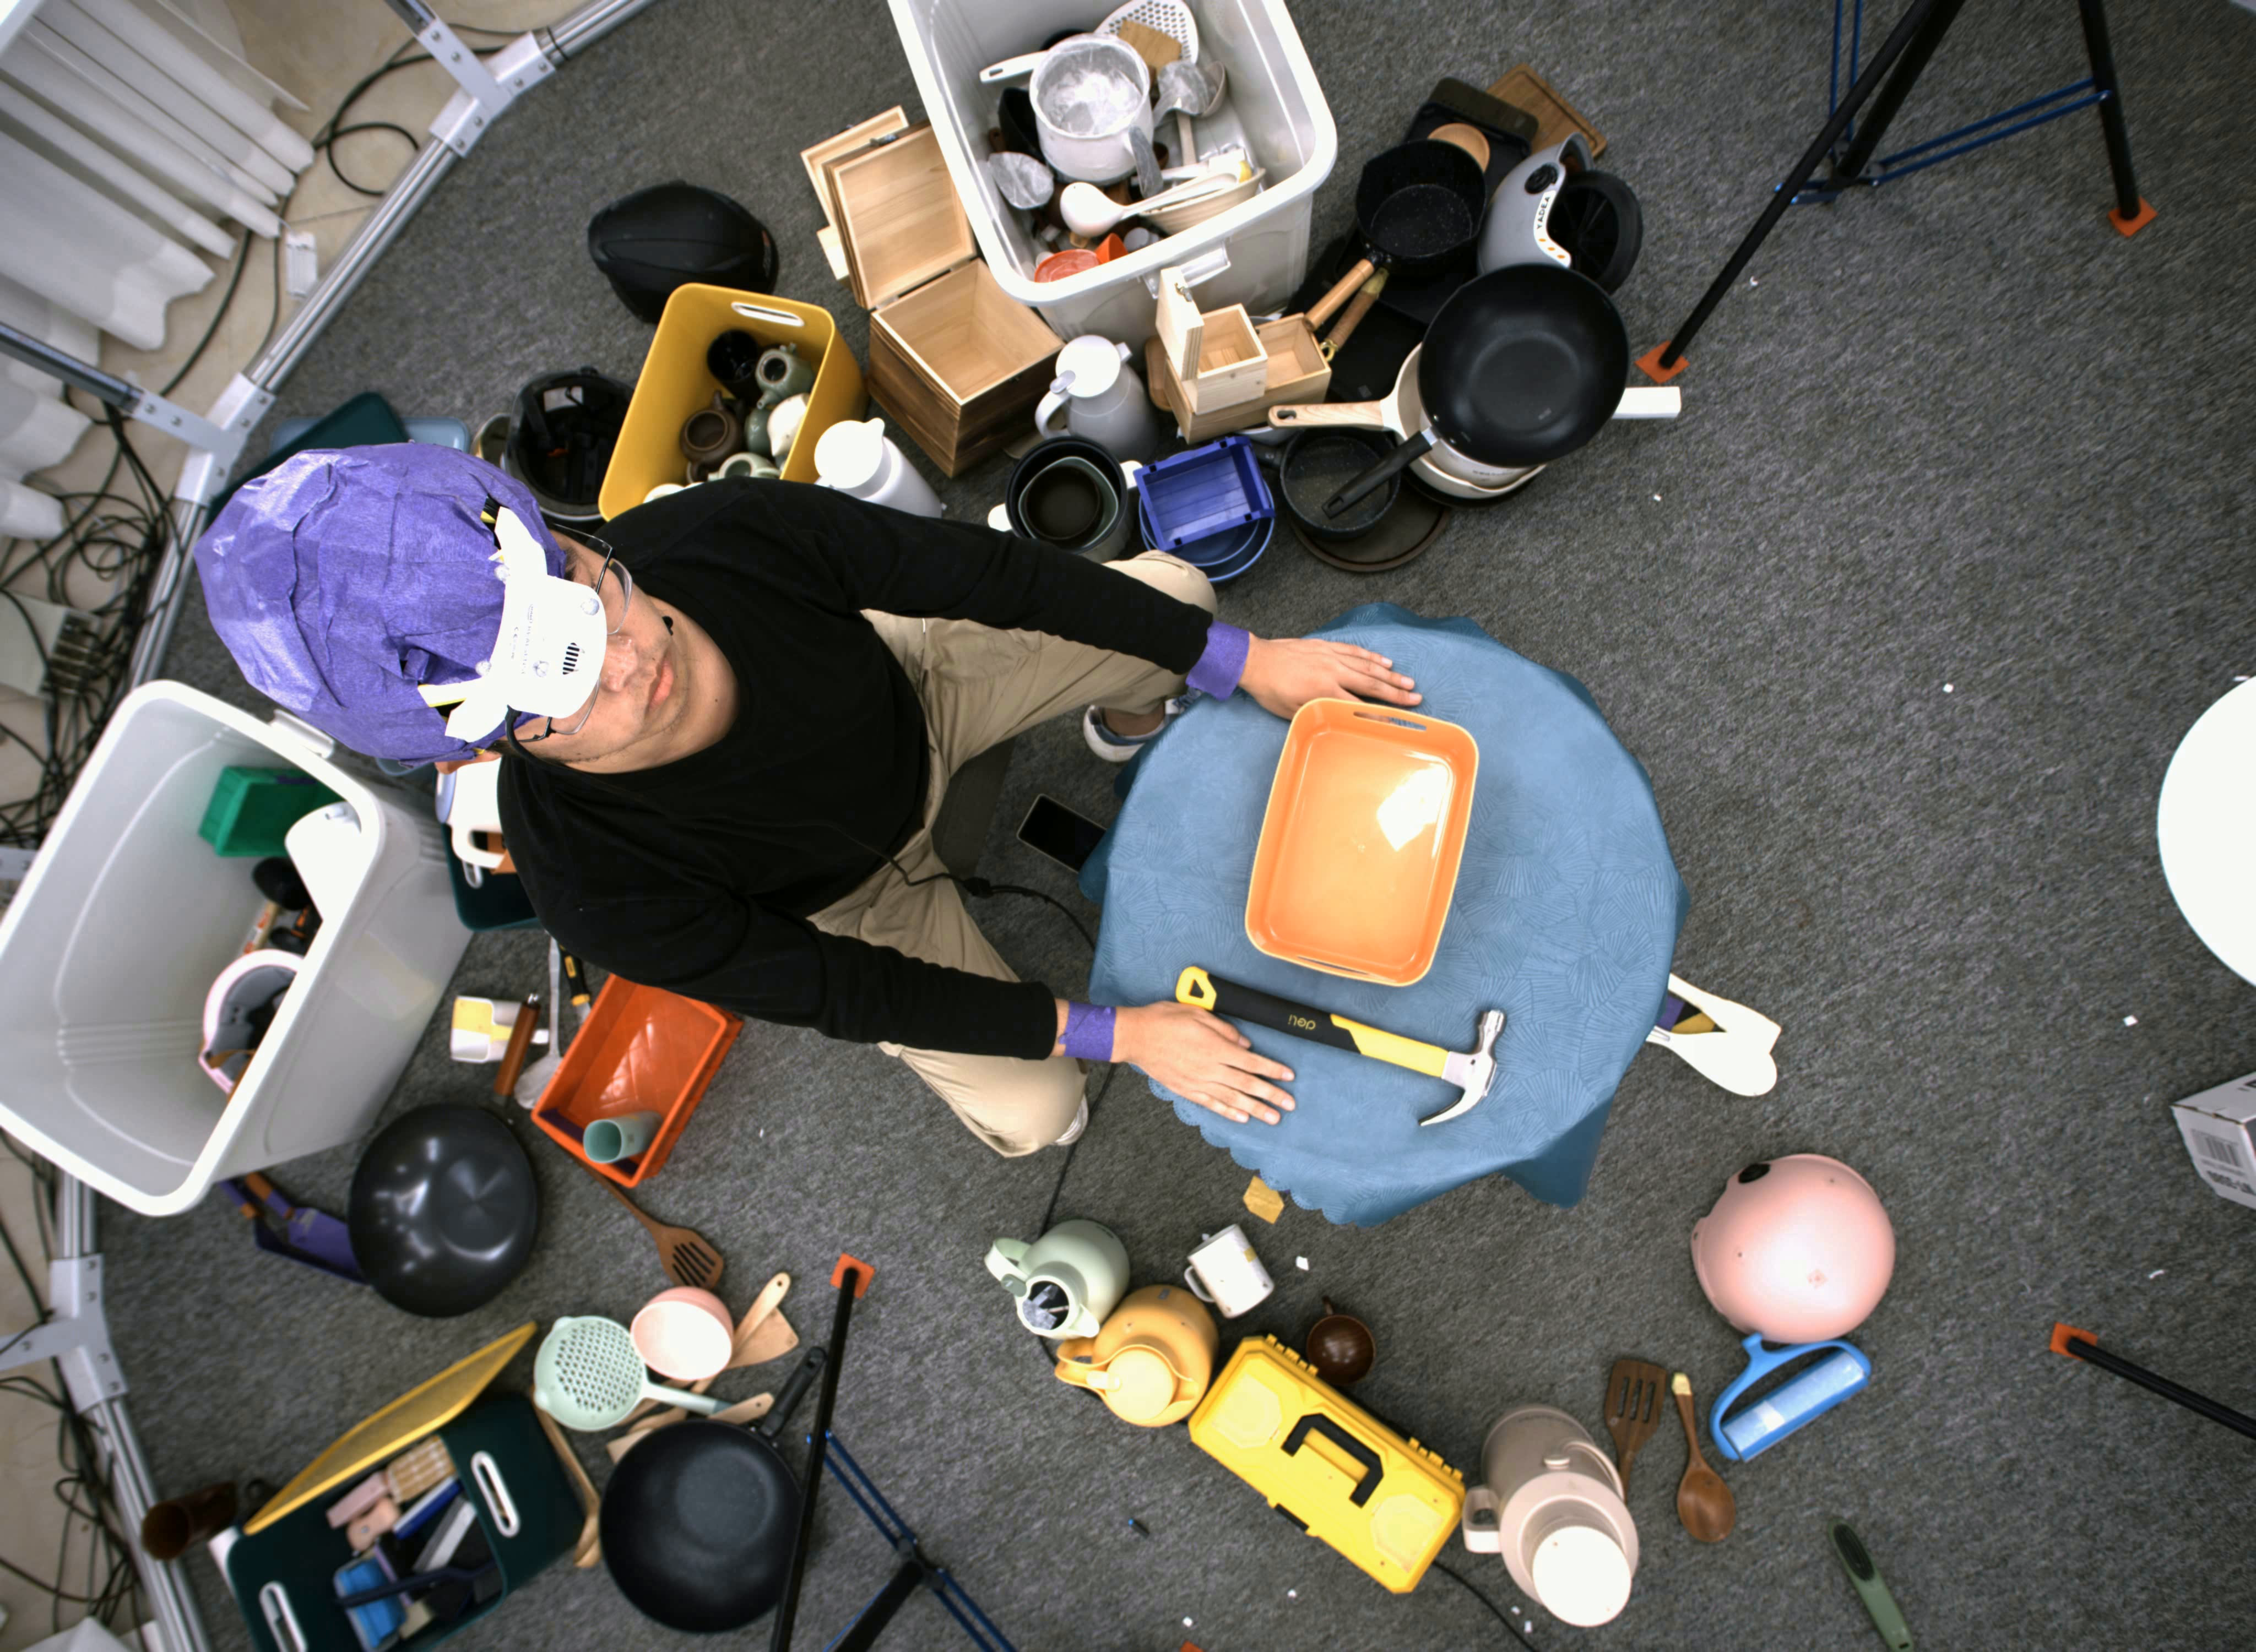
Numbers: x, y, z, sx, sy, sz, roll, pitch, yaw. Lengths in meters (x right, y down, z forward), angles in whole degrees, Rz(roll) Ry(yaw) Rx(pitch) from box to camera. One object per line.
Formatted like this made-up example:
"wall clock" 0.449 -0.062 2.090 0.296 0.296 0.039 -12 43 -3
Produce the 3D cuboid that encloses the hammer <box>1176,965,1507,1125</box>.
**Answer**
"hammer" 0.213 0.211 1.447 0.339 0.032 0.131 17 90 10

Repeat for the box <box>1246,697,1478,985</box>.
"box" 0.239 0.017 1.418 0.200 0.102 0.272 13 89 12
